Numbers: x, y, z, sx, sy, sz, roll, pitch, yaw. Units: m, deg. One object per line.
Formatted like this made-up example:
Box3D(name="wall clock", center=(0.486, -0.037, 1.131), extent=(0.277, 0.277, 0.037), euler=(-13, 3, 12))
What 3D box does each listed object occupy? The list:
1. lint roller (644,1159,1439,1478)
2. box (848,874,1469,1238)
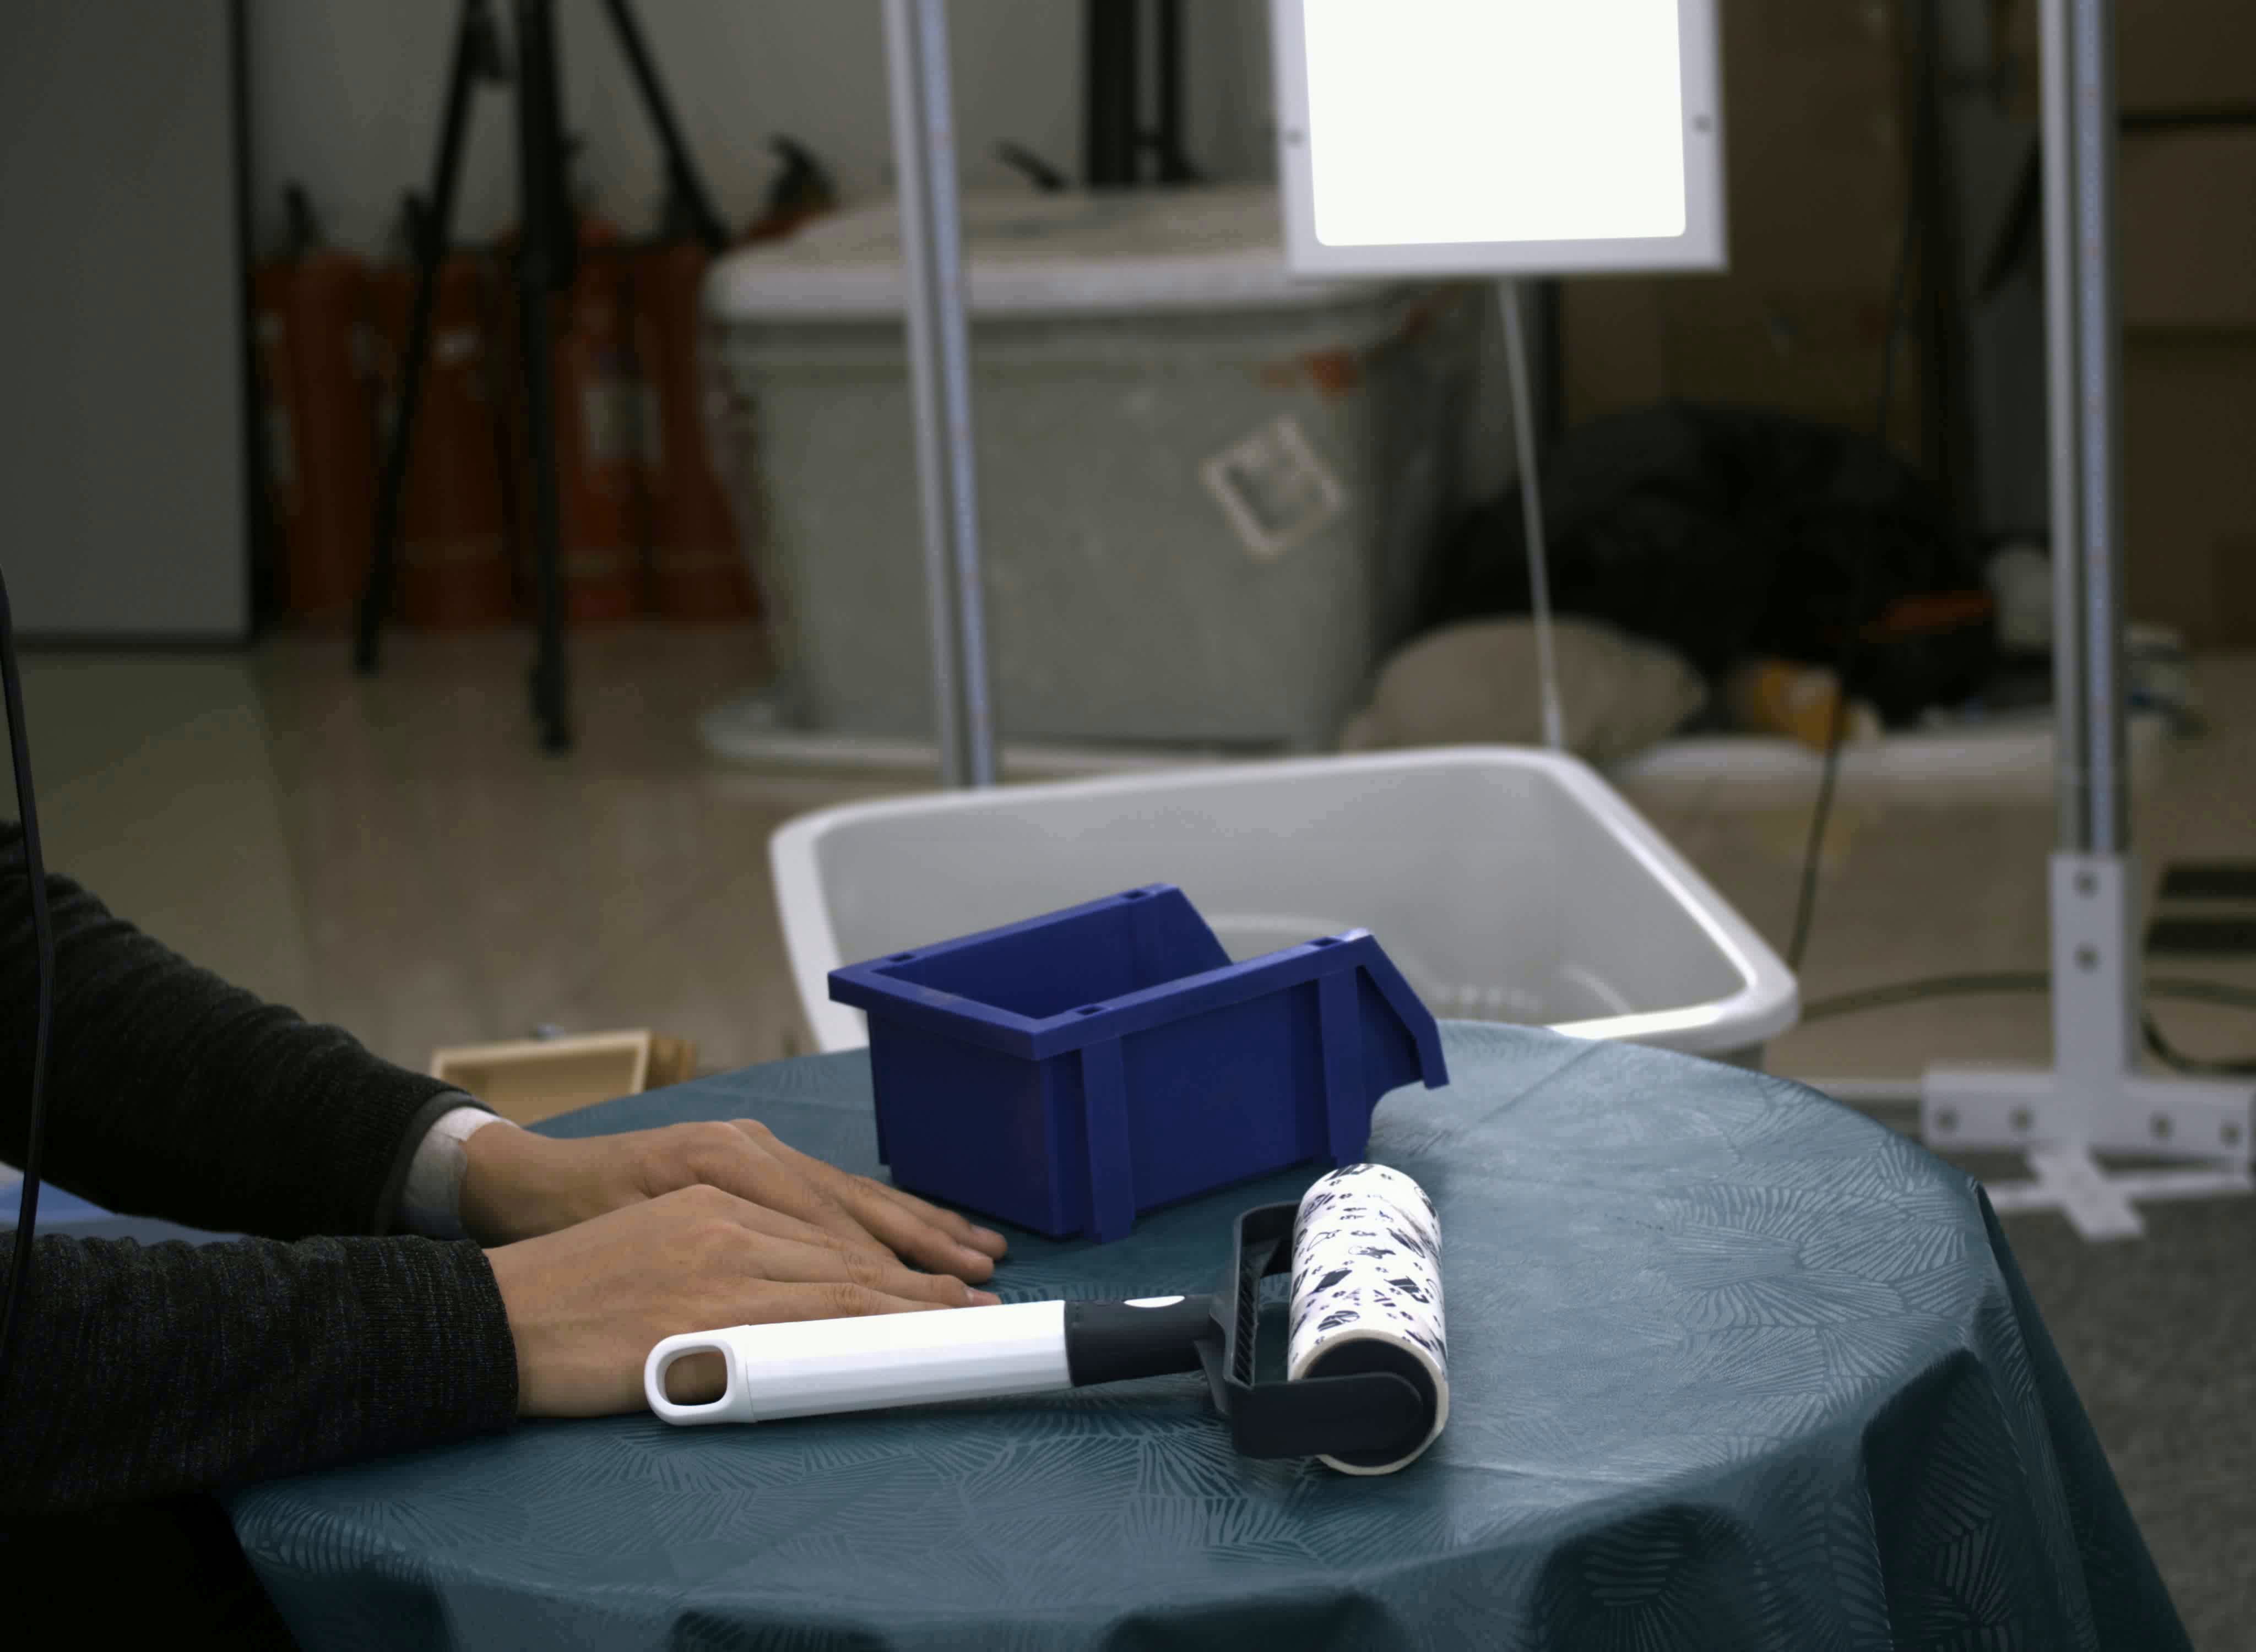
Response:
Box3D(name="lint roller", center=(-0.027, 0.158, 1.690), extent=(0.247, 0.050, 0.175), euler=(-5, 14, 5))
Box3D(name="box", center=(0.011, 0.076, 1.927), extent=(0.175, 0.082, 0.127), euler=(-17, 18, -33))
